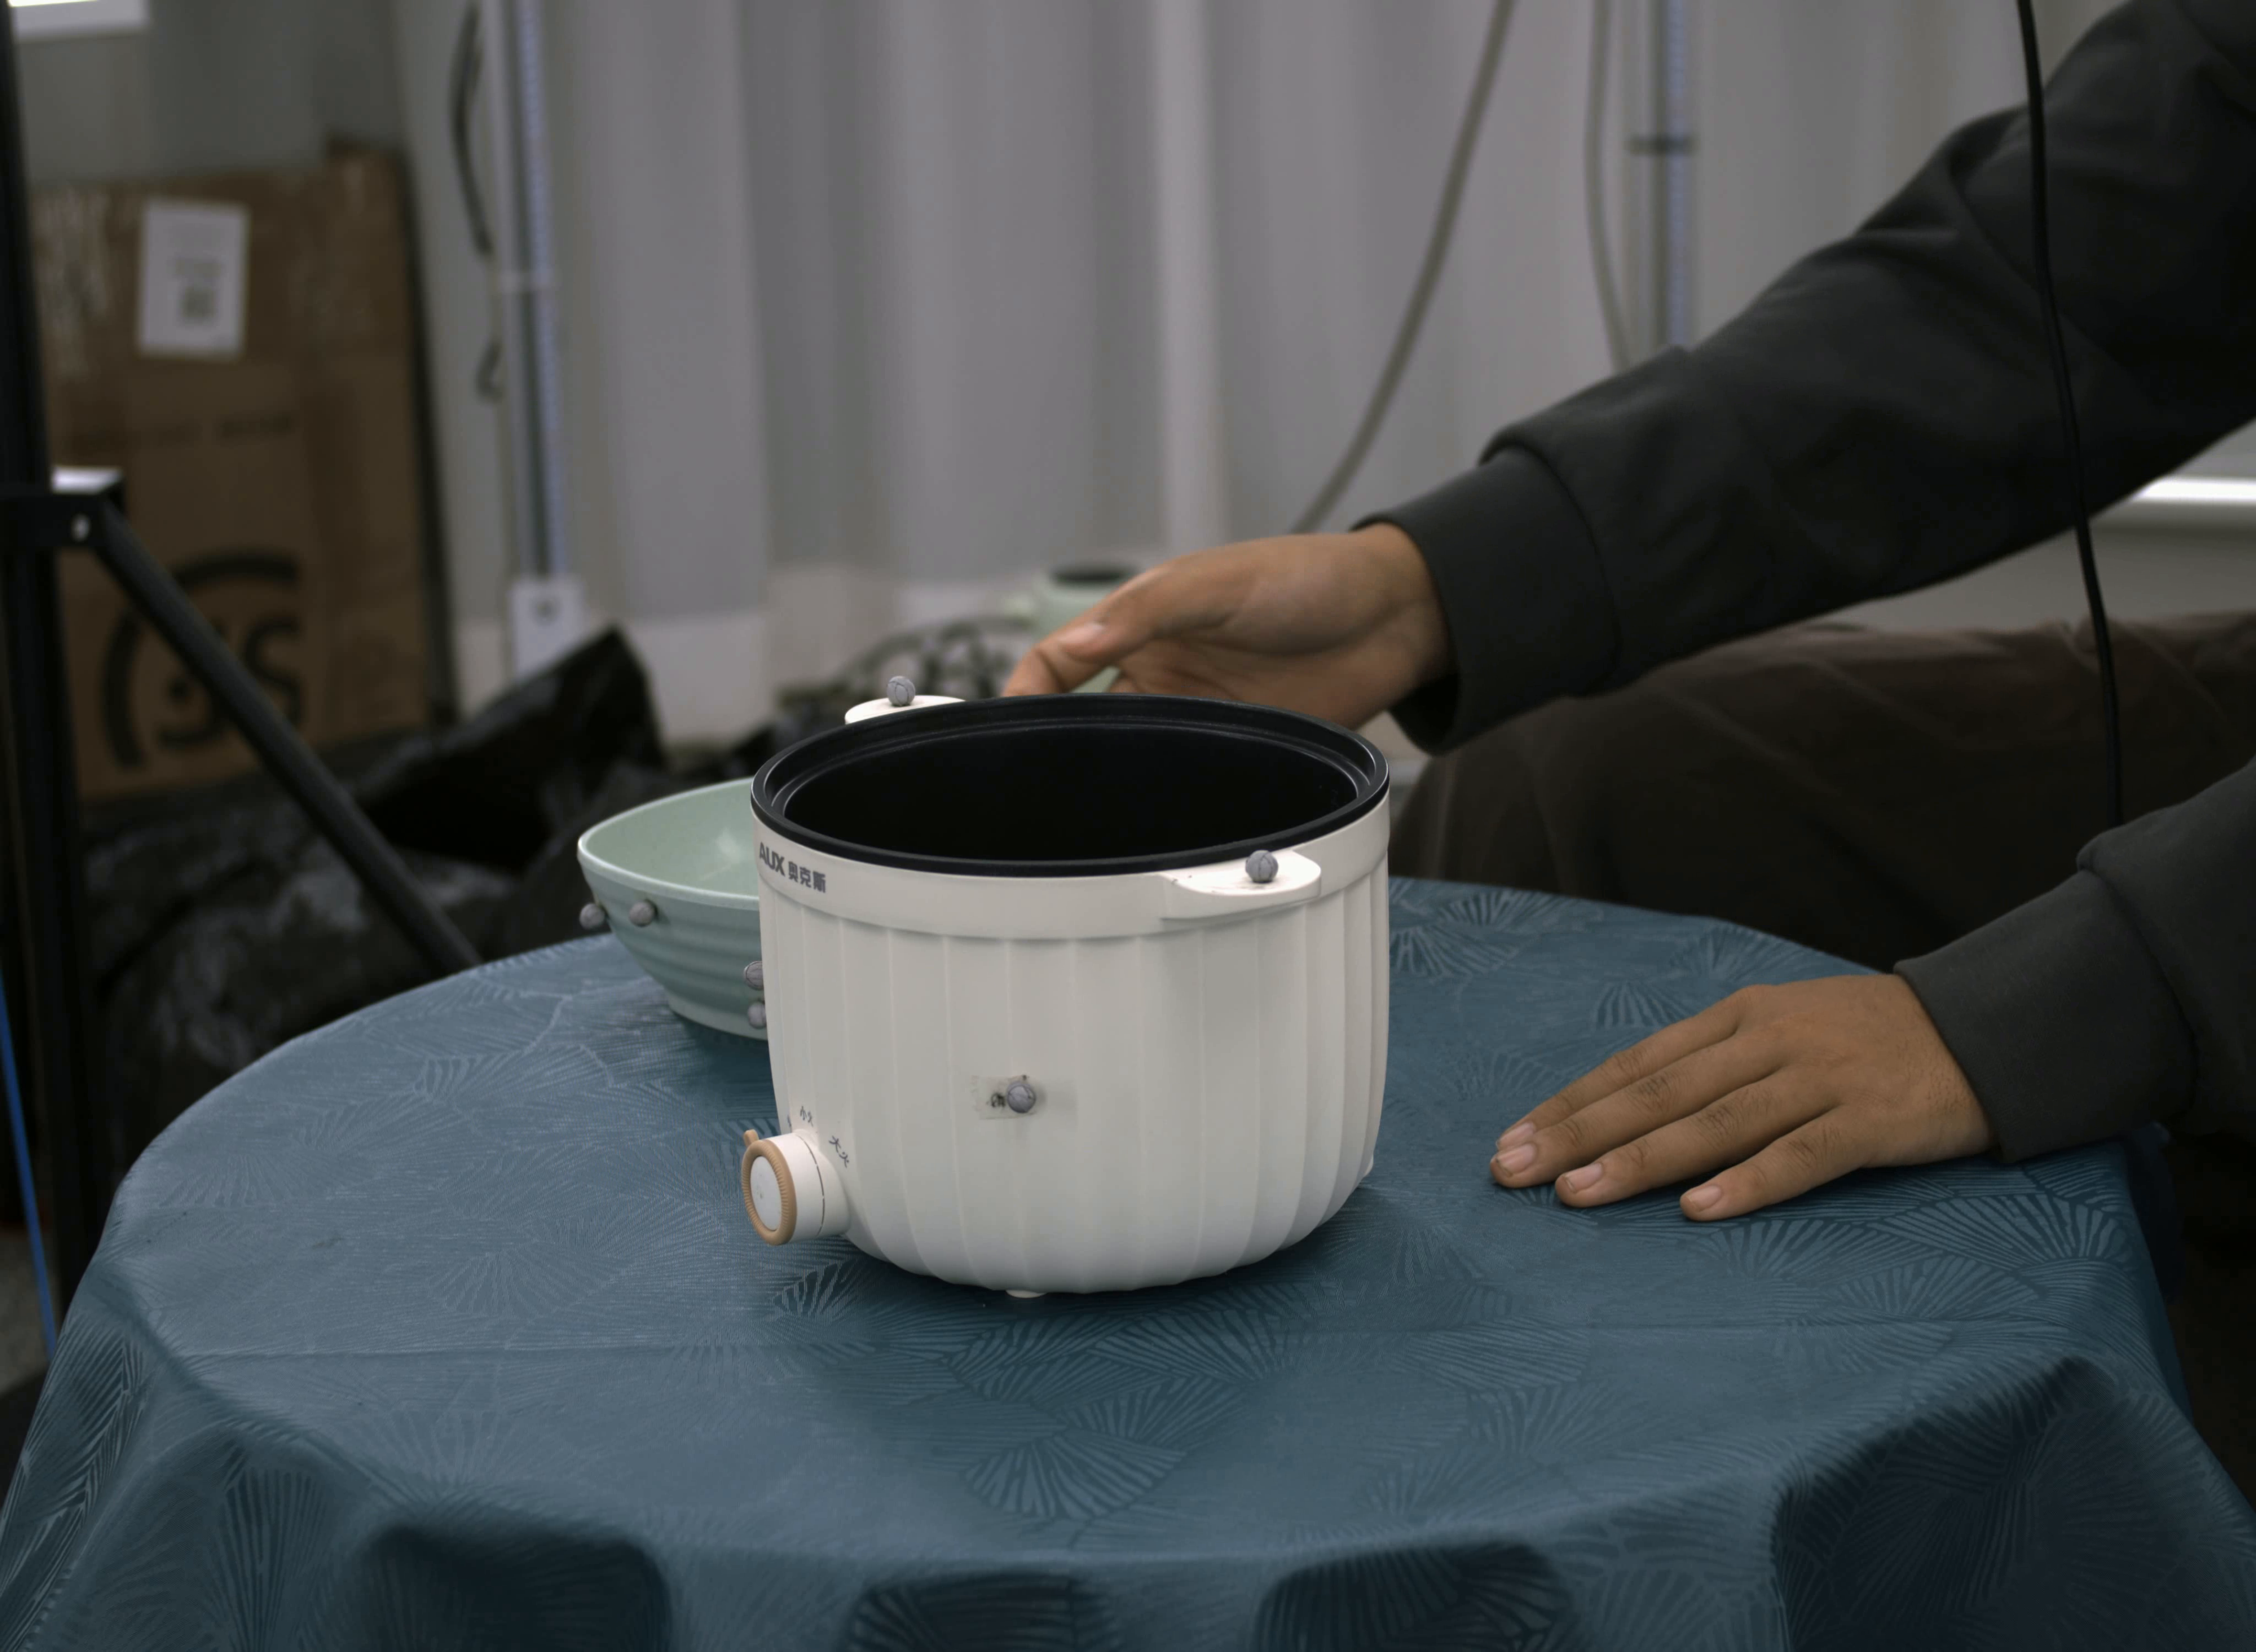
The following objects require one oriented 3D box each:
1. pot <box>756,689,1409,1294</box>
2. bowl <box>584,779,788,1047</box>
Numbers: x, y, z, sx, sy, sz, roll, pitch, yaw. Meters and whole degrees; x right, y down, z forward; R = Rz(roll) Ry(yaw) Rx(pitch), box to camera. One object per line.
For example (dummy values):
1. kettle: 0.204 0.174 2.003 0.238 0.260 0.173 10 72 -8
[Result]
1. pot: -0.016 0.049 1.511 0.186 0.143 0.245 -7 14 -28
2. bowl: -0.100 0.031 1.741 0.151 0.058 0.152 -4 17 0
